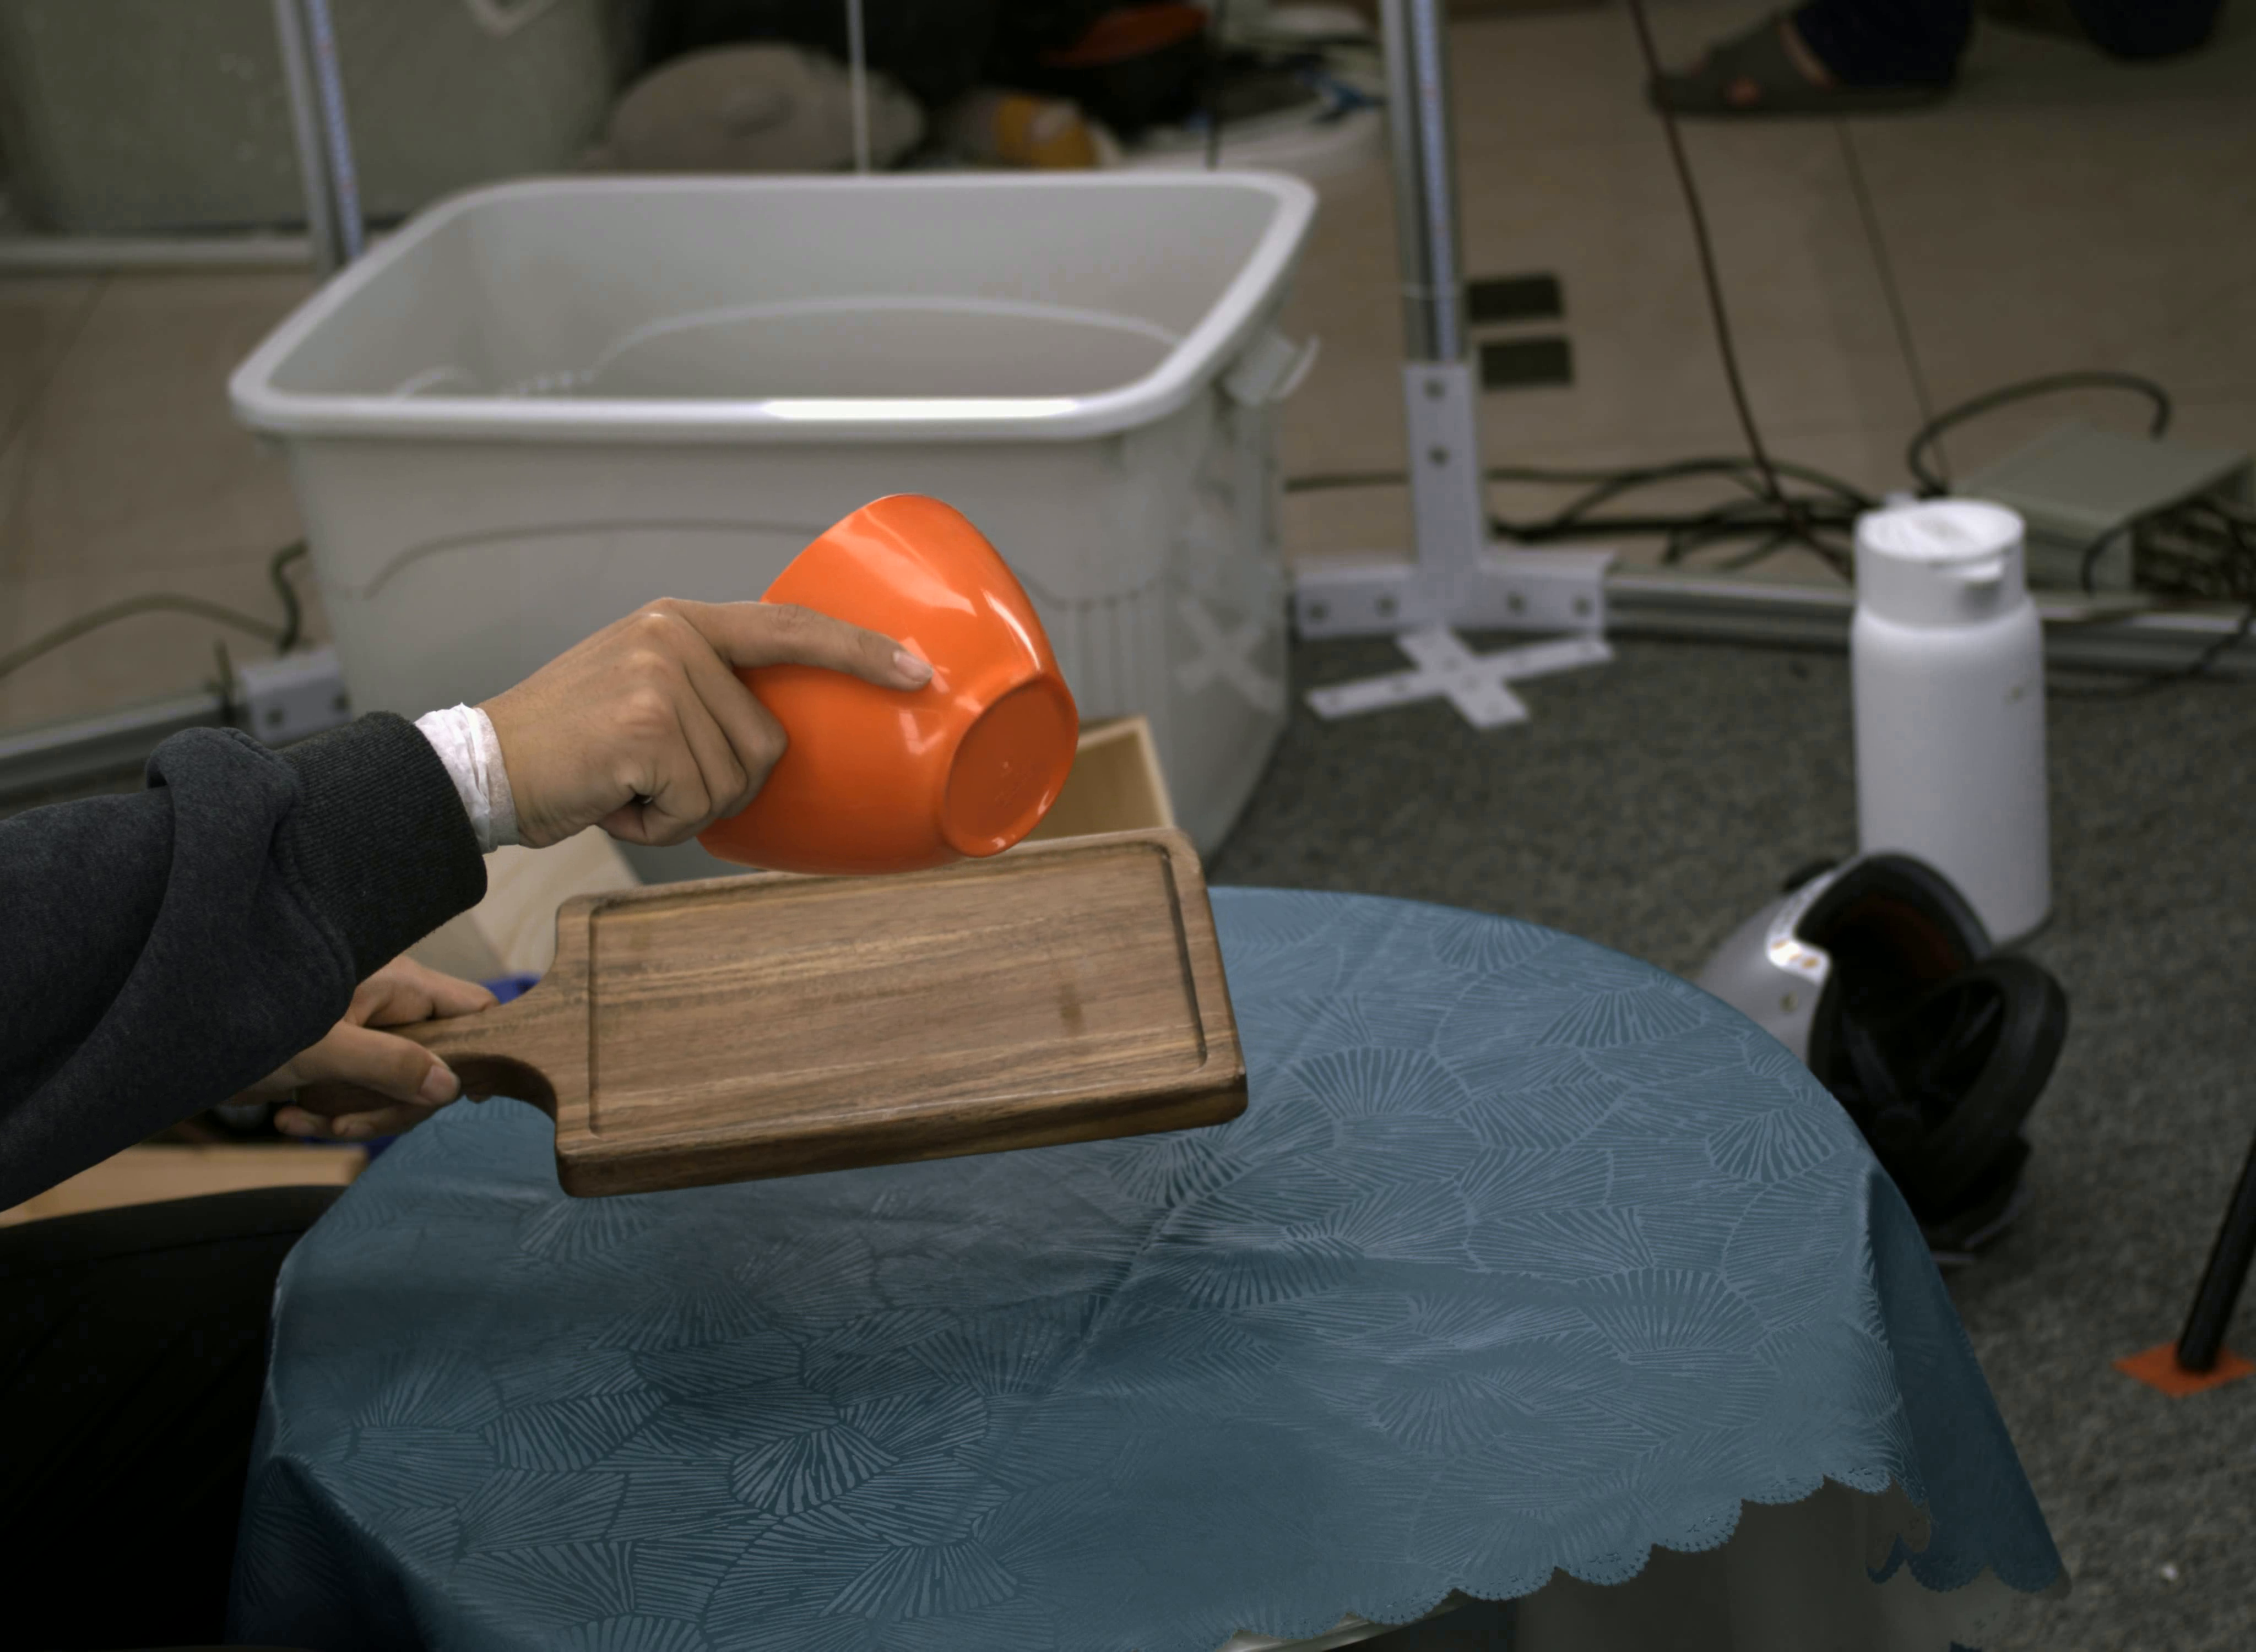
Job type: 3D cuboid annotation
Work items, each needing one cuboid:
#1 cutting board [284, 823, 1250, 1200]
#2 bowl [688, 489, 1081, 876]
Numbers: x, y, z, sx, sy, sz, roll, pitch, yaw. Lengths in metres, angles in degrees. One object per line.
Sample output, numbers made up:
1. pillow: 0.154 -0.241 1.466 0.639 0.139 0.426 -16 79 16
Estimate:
1. cutting board: -0.138 0.072 2.112 0.351 0.023 0.198 -7 29 -2
2. bowl: -0.072 -0.035 1.934 0.103 0.151 0.147 31 42 33
